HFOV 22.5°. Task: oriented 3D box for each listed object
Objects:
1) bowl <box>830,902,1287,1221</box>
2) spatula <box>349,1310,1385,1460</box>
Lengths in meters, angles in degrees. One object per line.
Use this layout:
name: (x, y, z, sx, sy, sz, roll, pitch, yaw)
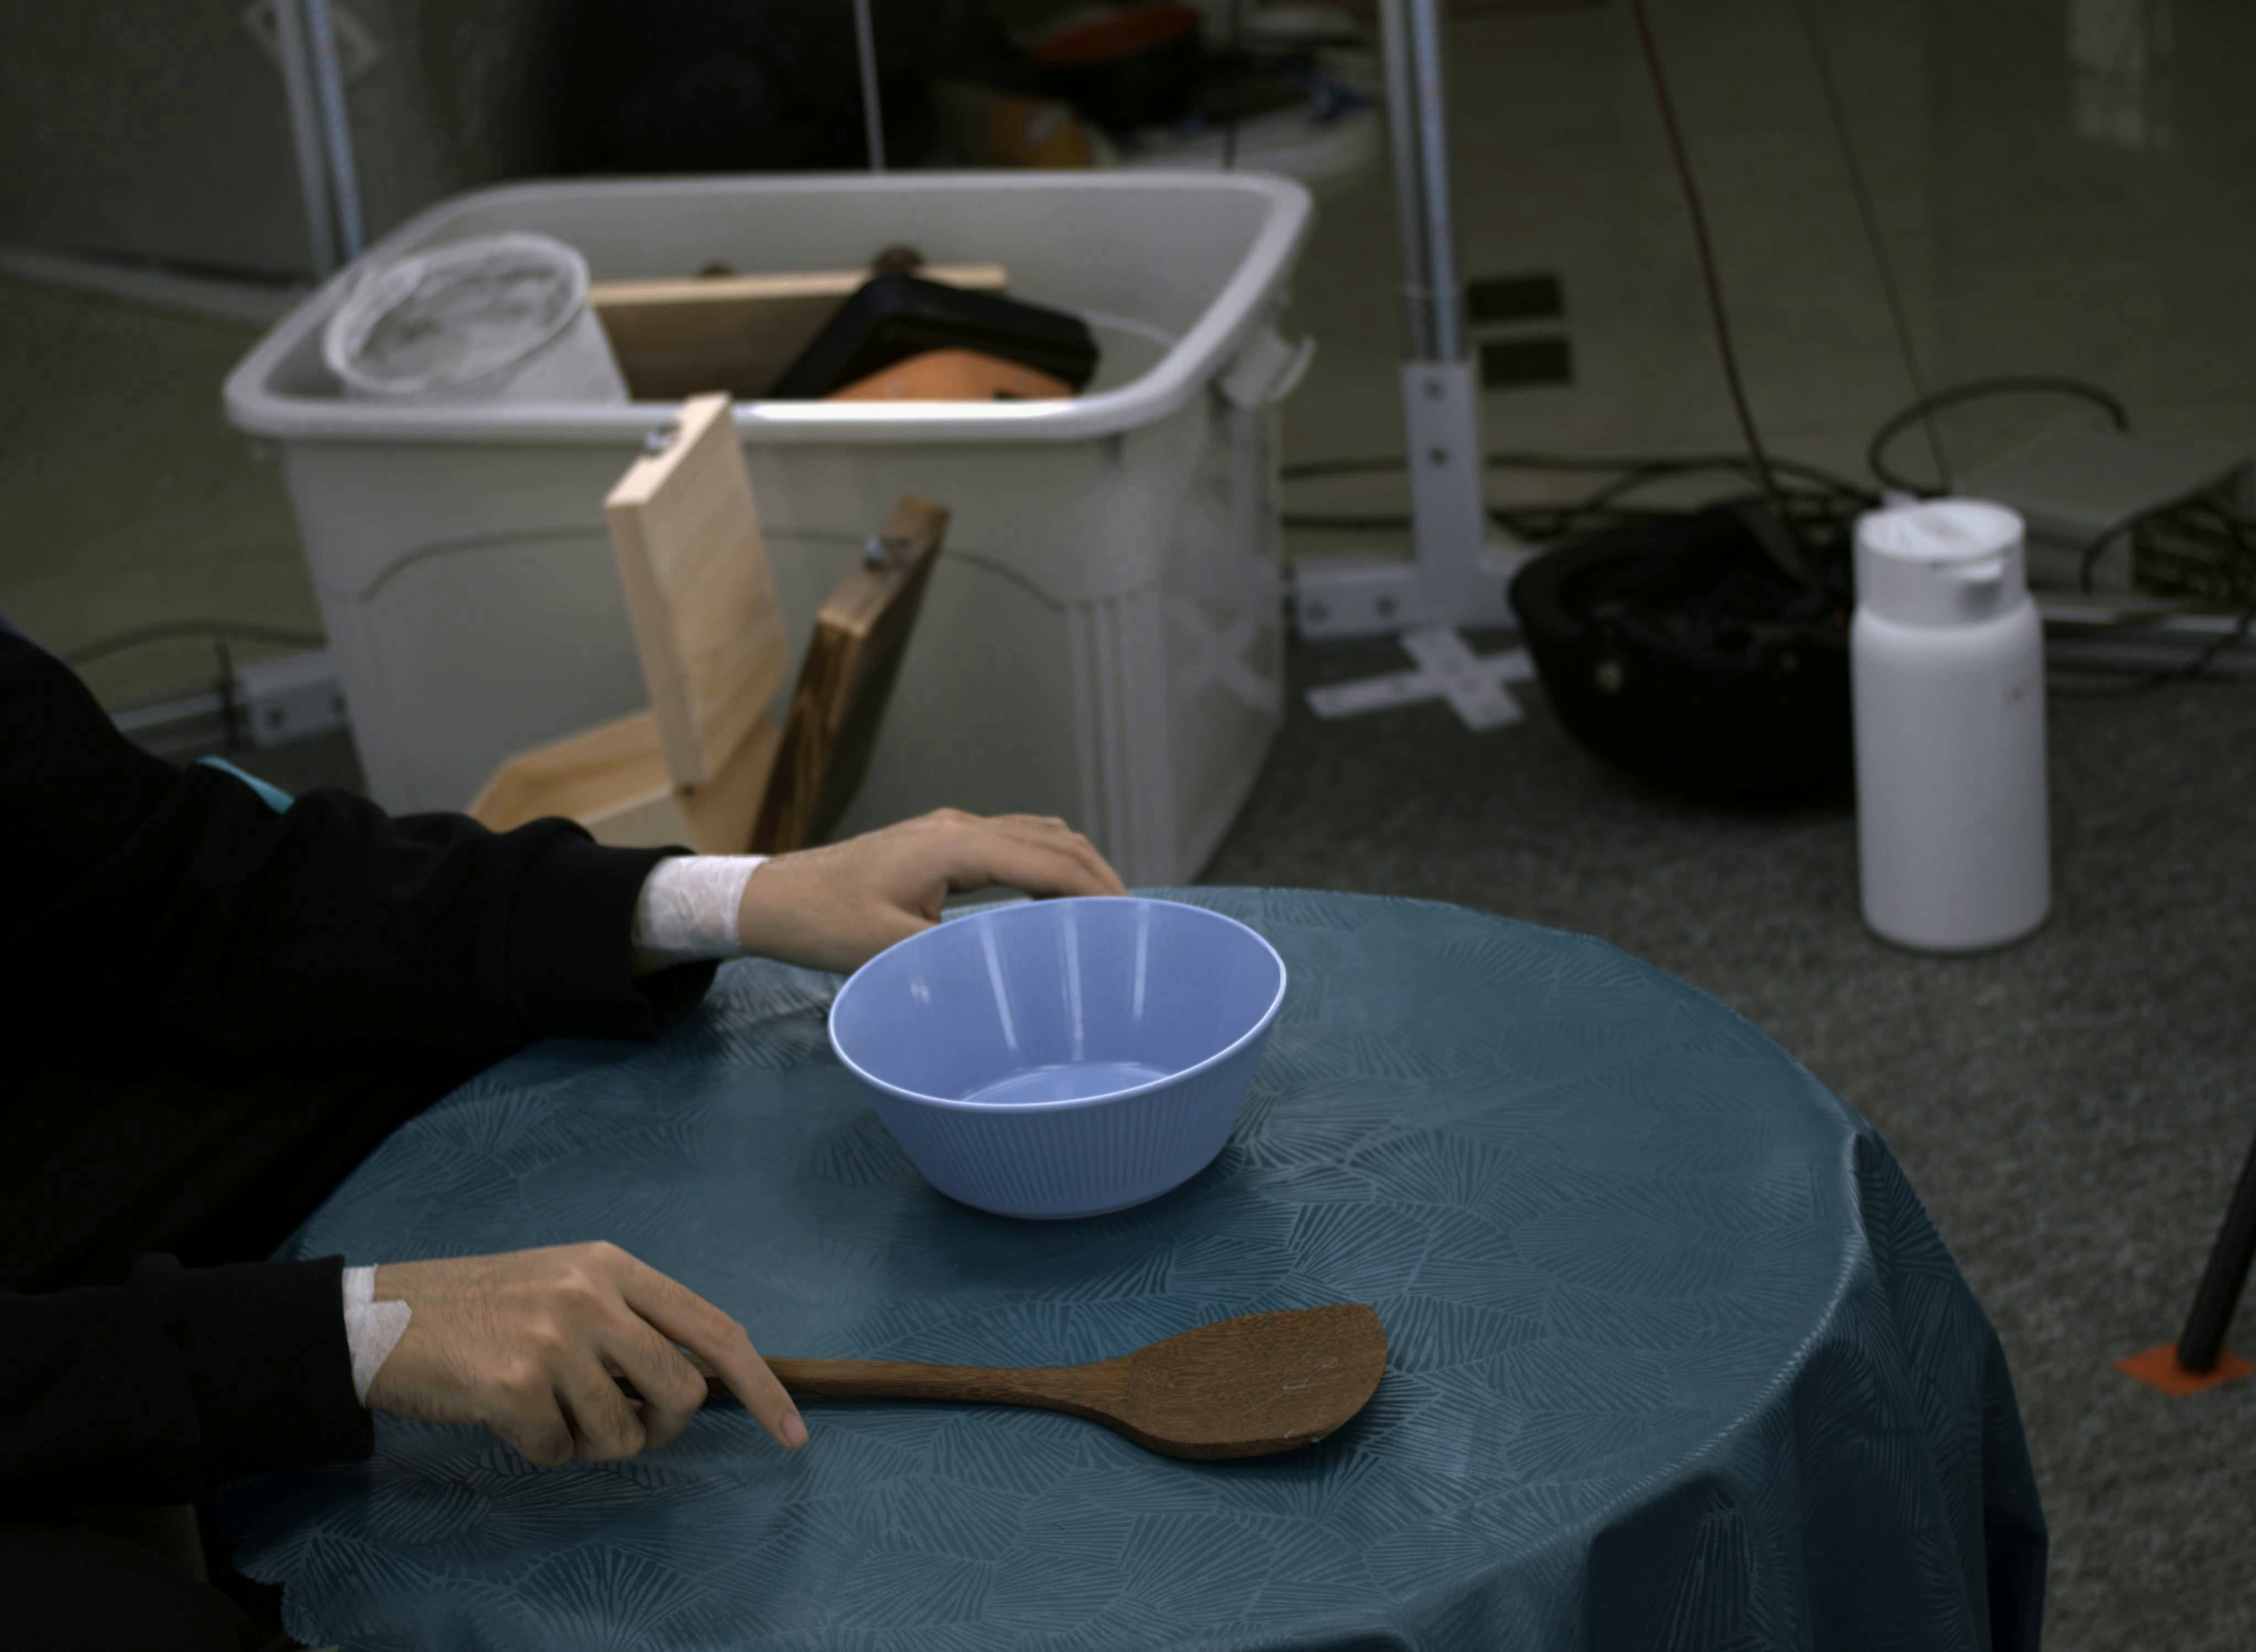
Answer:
bowl: (-0.023, 0.096, 2.168, 0.176, 0.071, 0.173, -6, 24, 3)
spatula: (-0.098, 0.198, 2.033, 0.385, 0.016, 0.095, 0, 25, 13)
